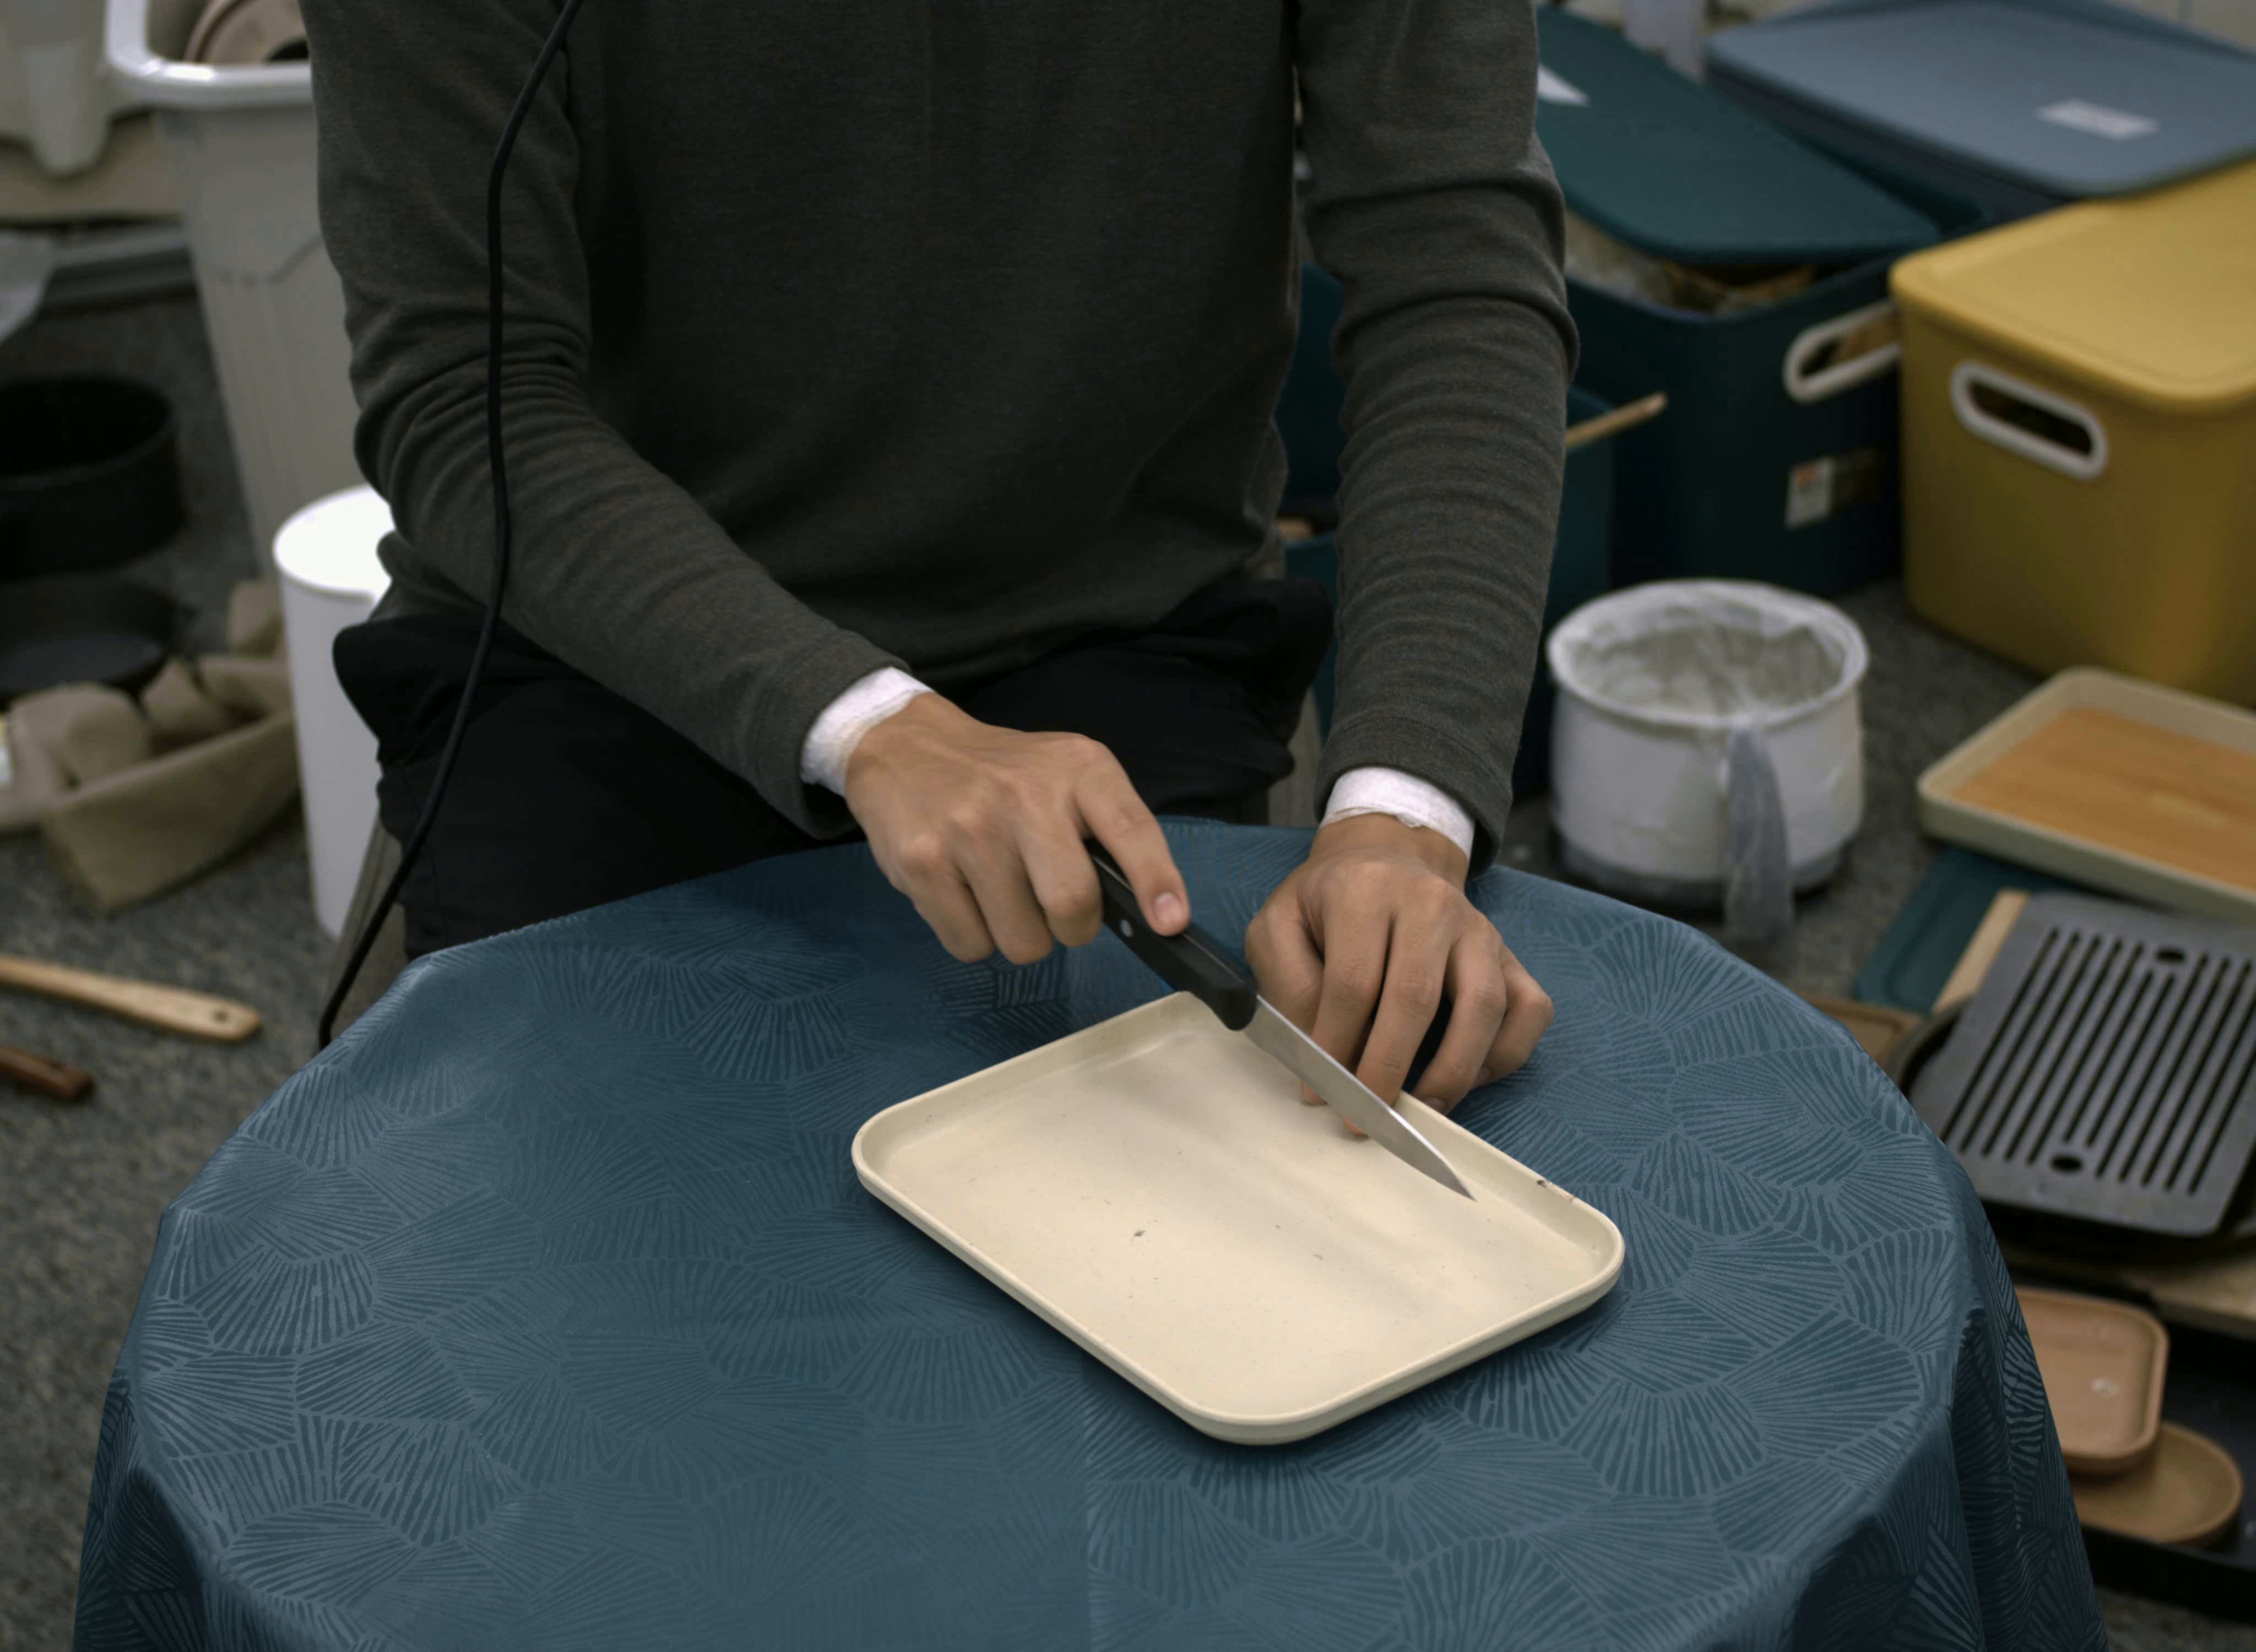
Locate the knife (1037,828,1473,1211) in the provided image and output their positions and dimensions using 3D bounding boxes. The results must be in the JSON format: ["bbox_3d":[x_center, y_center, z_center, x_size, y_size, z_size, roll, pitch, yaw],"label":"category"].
[{"bbox_3d":[0.040,0.062,1.856,0.016,0.024,0.239,-26,43,-25],"label":"knife"}]

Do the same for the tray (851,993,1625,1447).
[{"bbox_3d":[0.033,0.127,1.830,0.173,0.017,0.240,-21,32,-30],"label":"tray"}]
